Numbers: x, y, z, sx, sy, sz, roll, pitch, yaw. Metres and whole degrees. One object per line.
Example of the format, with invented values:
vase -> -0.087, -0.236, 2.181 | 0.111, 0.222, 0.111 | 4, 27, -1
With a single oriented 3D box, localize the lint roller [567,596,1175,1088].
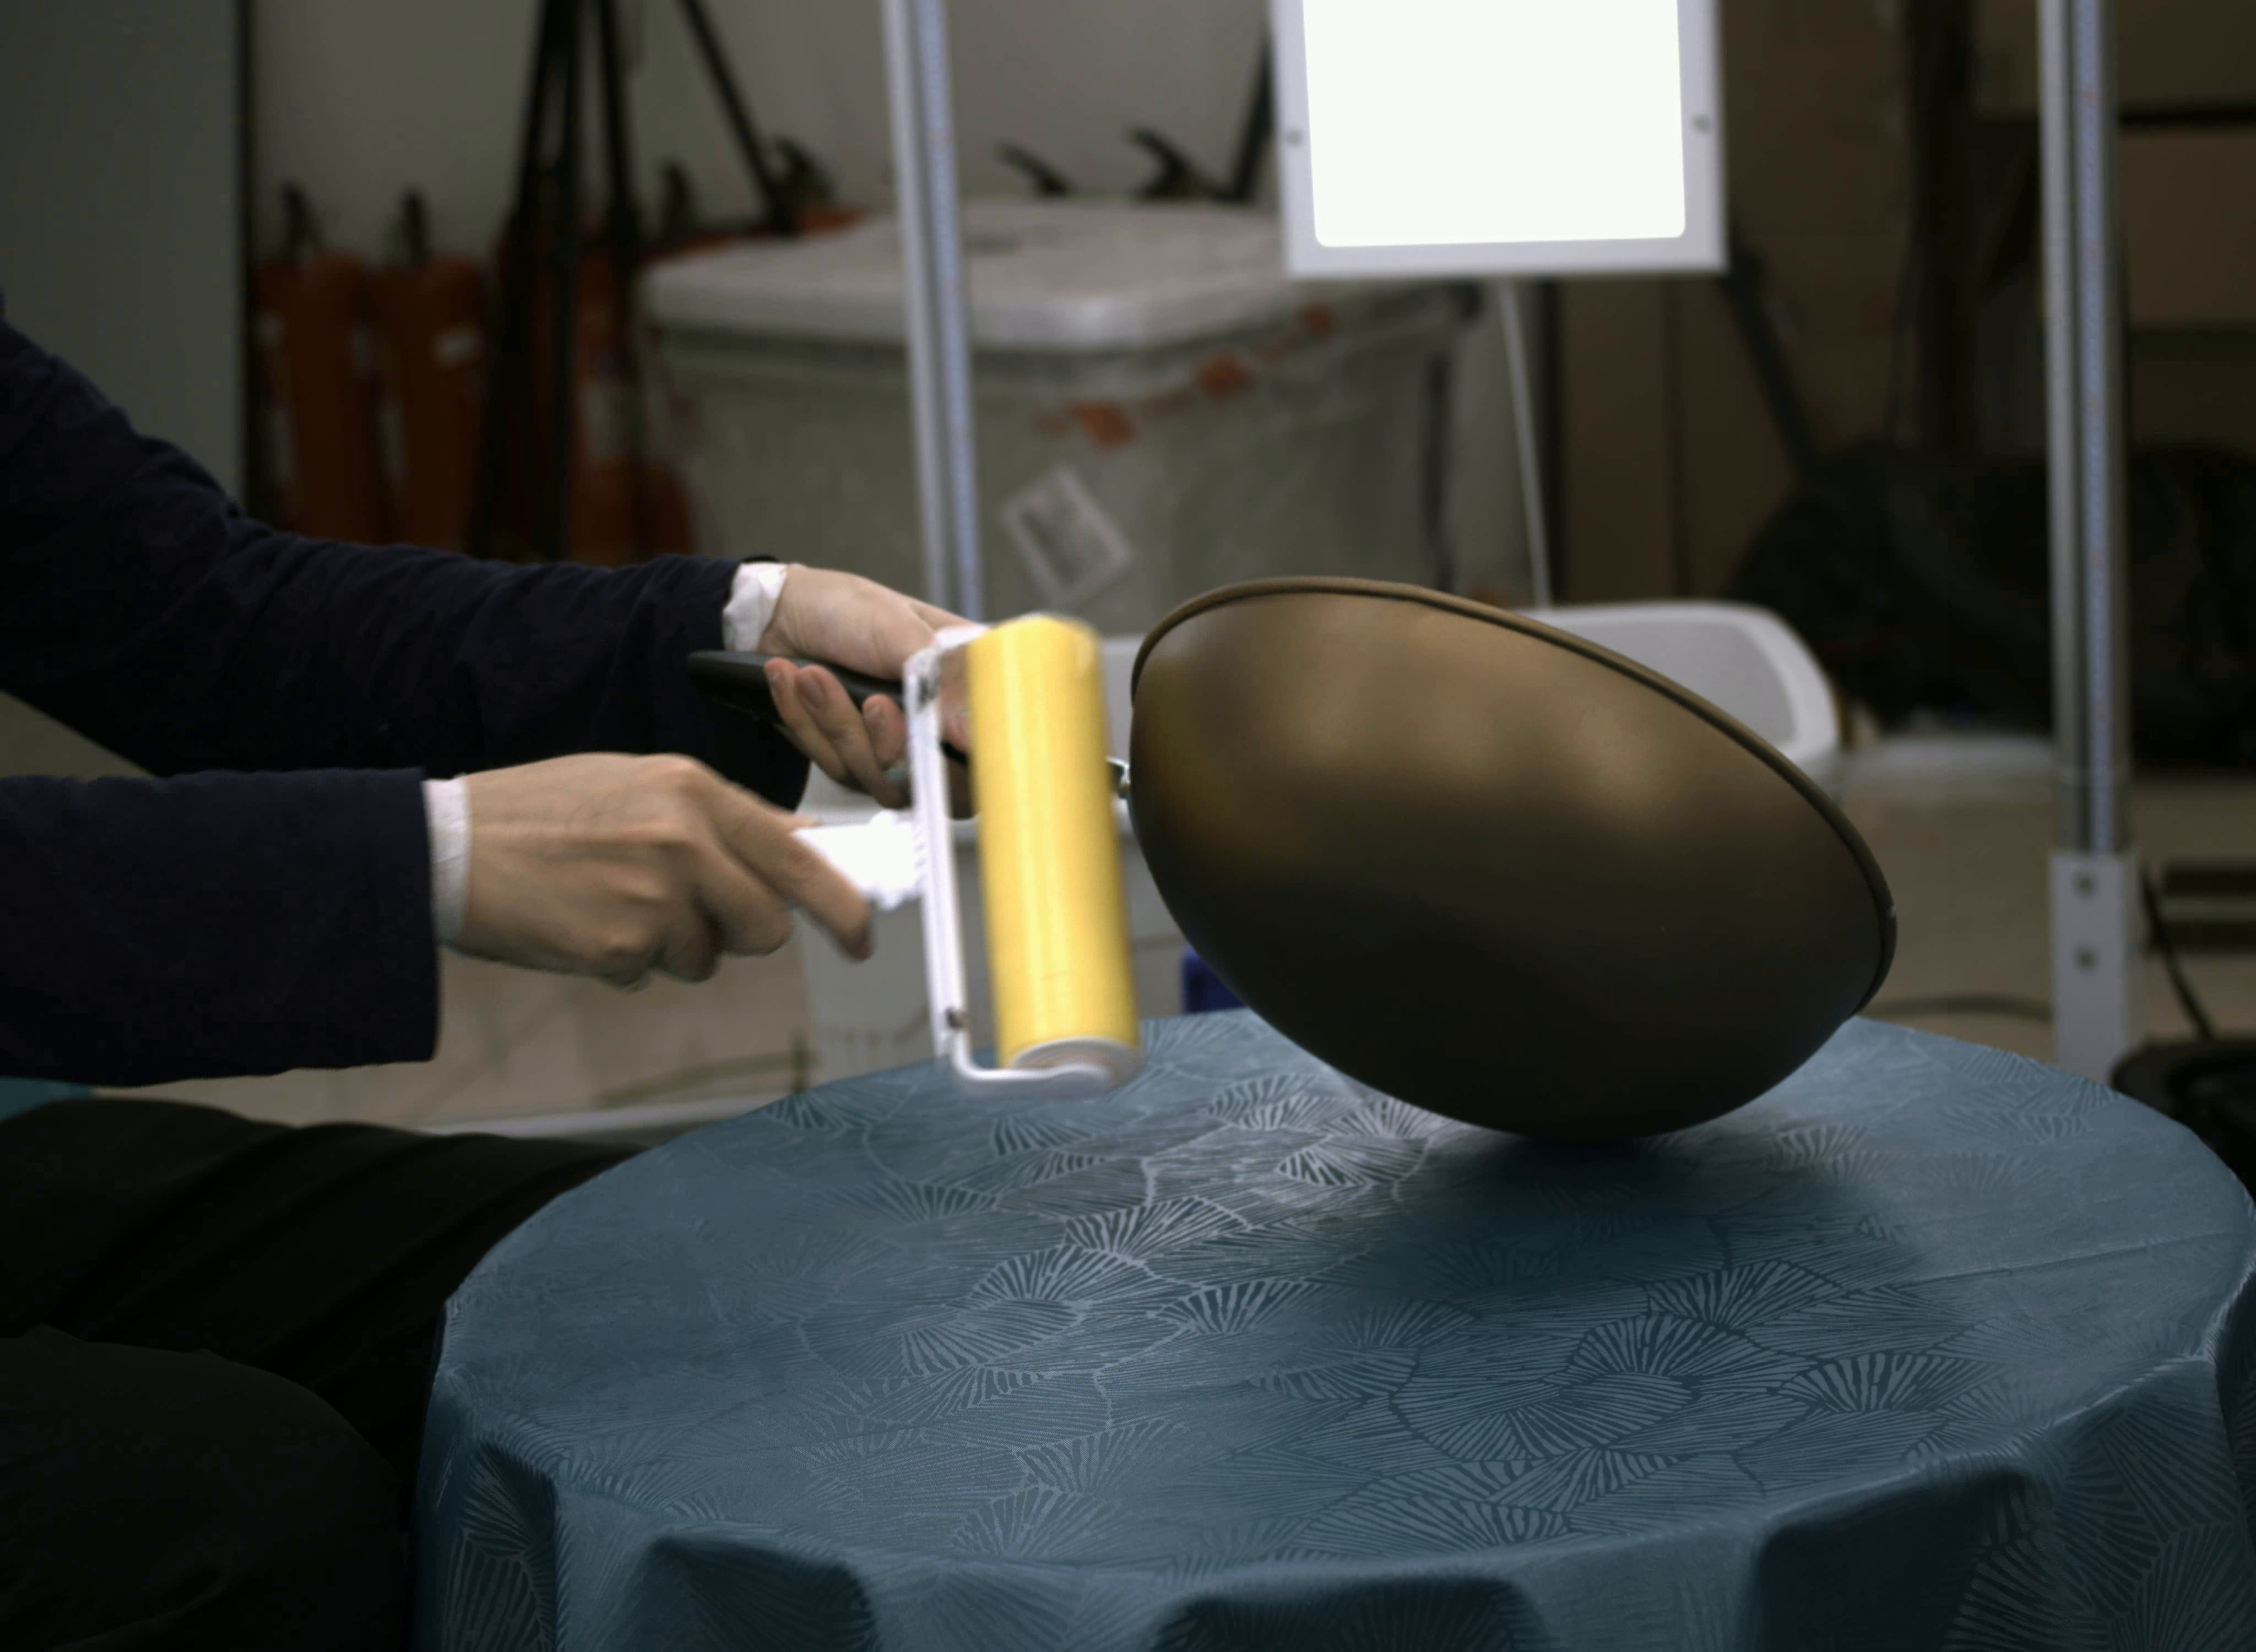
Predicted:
lint roller -> -0.088, 0.007, 1.821 | 0.189, 0.174, 0.052 | -1, -27, -12

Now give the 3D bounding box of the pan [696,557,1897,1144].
pan -> 0.034, 0.011, 1.896 | 0.471, 0.286, 0.086 | 11, 60, 27
